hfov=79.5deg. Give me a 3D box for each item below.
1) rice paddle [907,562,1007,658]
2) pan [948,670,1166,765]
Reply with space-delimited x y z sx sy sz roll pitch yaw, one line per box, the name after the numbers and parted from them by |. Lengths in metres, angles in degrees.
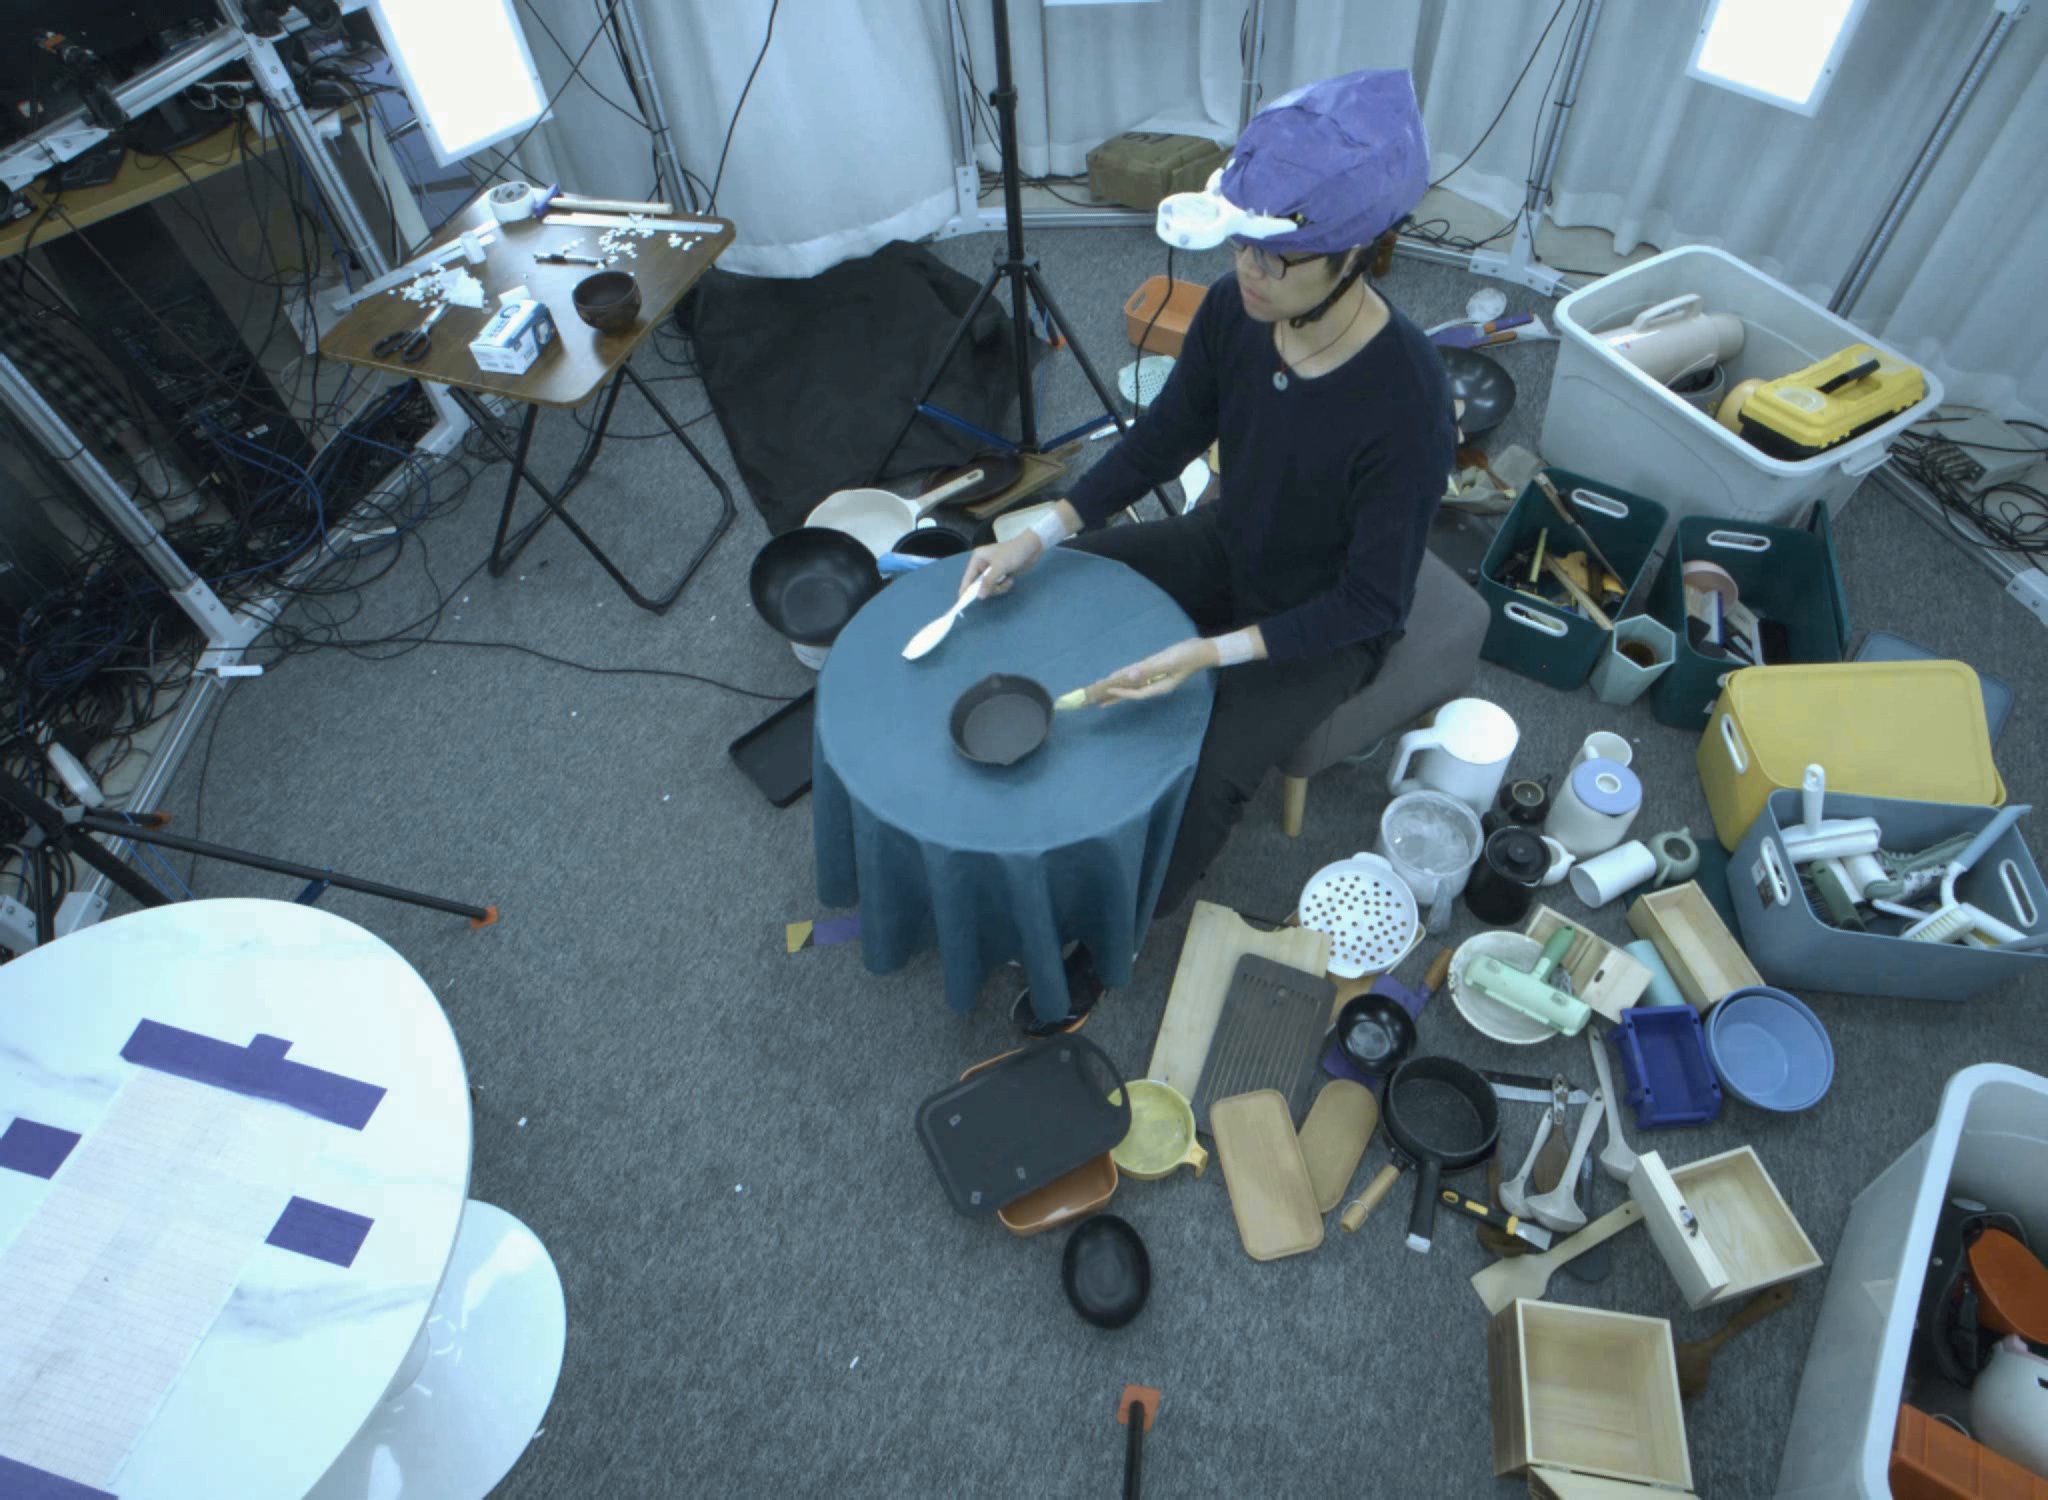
-0.108 -0.214 1.900 0.206 0.030 0.067 -45 29 -13 | rice paddle
0.049 -0.062 1.772 0.323 0.050 0.166 -13 55 6 | pan
